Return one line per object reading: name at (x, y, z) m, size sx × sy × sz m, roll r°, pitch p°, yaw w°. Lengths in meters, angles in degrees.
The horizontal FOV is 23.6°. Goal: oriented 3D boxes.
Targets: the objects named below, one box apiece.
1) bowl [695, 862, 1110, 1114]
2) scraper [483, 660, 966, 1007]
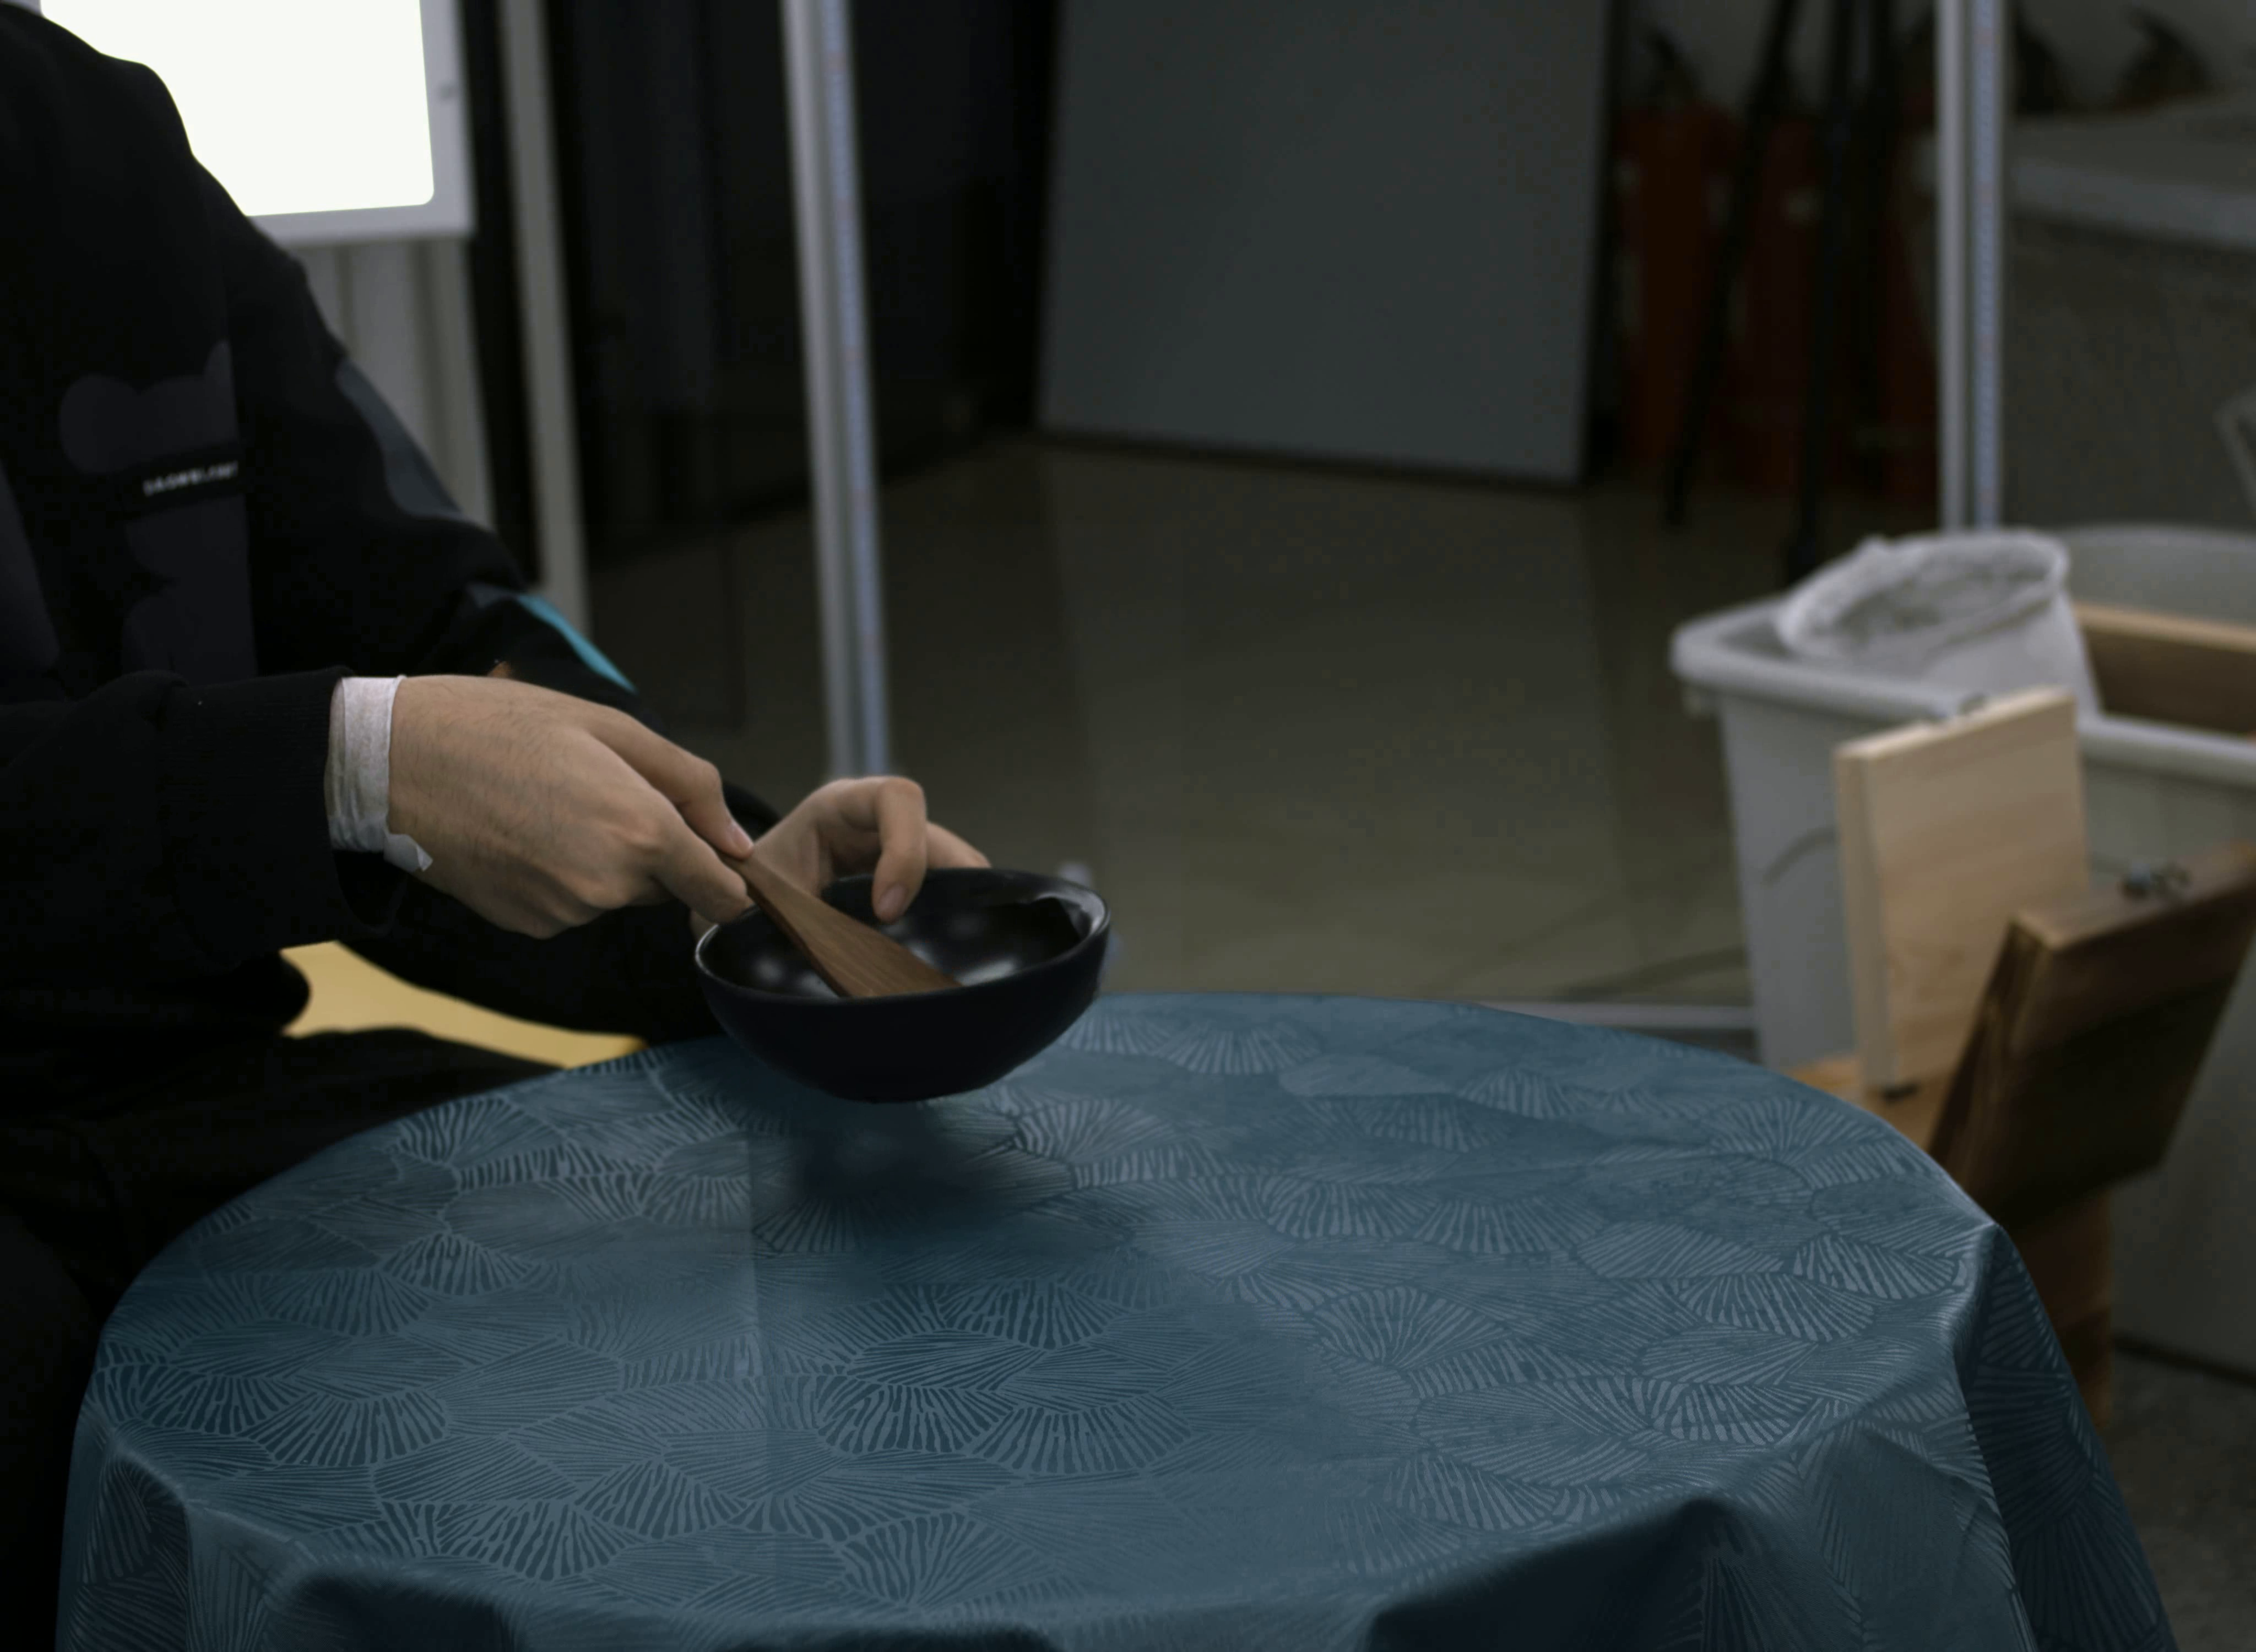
bowl at (-0.071, 0.059, 1.777) m, size 0.138 × 0.050 × 0.140 m, roll -8°, pitch 18°, yaw 2°
scraper at (-0.127, 0.012, 1.780) m, size 0.211 × 0.011 × 0.075 m, roll 38°, pitch 15°, yaw 3°
